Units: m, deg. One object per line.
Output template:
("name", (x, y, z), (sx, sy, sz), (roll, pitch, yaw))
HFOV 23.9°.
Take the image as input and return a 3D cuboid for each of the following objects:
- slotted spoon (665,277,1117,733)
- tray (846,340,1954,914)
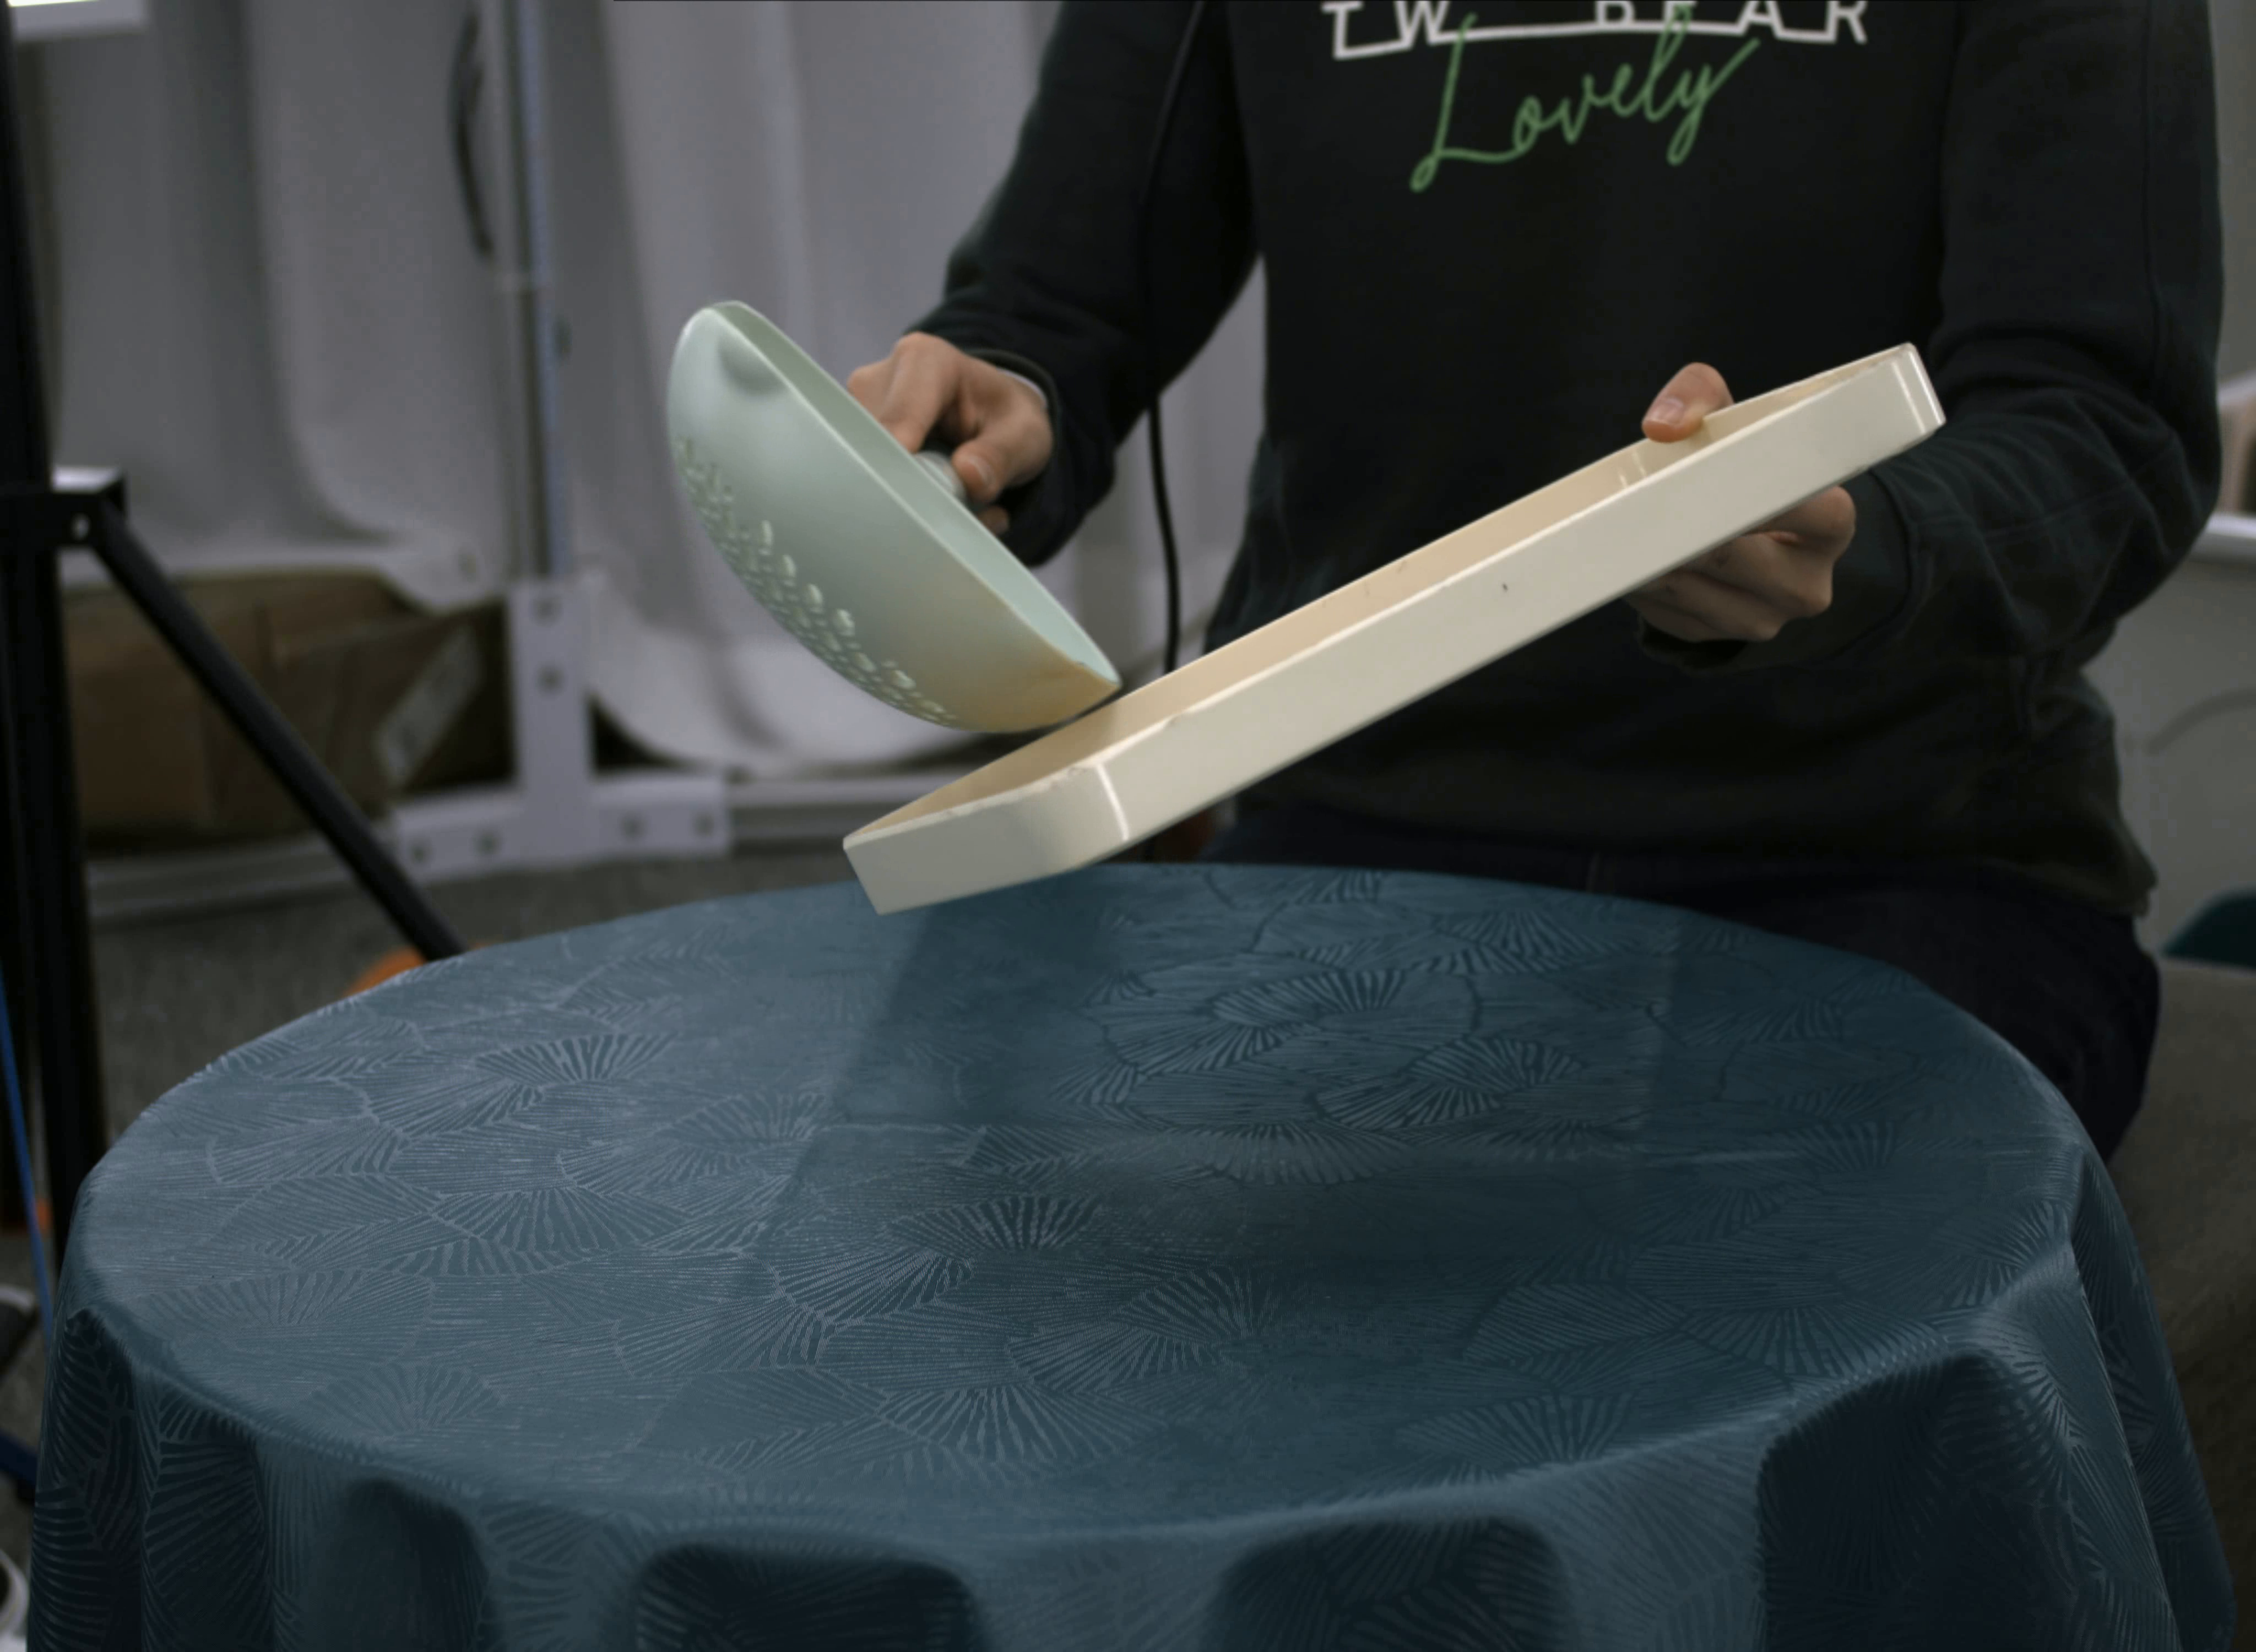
("slotted spoon", (-0.073, -0.098, 1.663), (0.075, 0.169, 0.358), (-43, 3, 9))
("tray", (0.075, -0.054, 1.511), (0.296, 0.027, 0.194), (-27, 5, -19))
